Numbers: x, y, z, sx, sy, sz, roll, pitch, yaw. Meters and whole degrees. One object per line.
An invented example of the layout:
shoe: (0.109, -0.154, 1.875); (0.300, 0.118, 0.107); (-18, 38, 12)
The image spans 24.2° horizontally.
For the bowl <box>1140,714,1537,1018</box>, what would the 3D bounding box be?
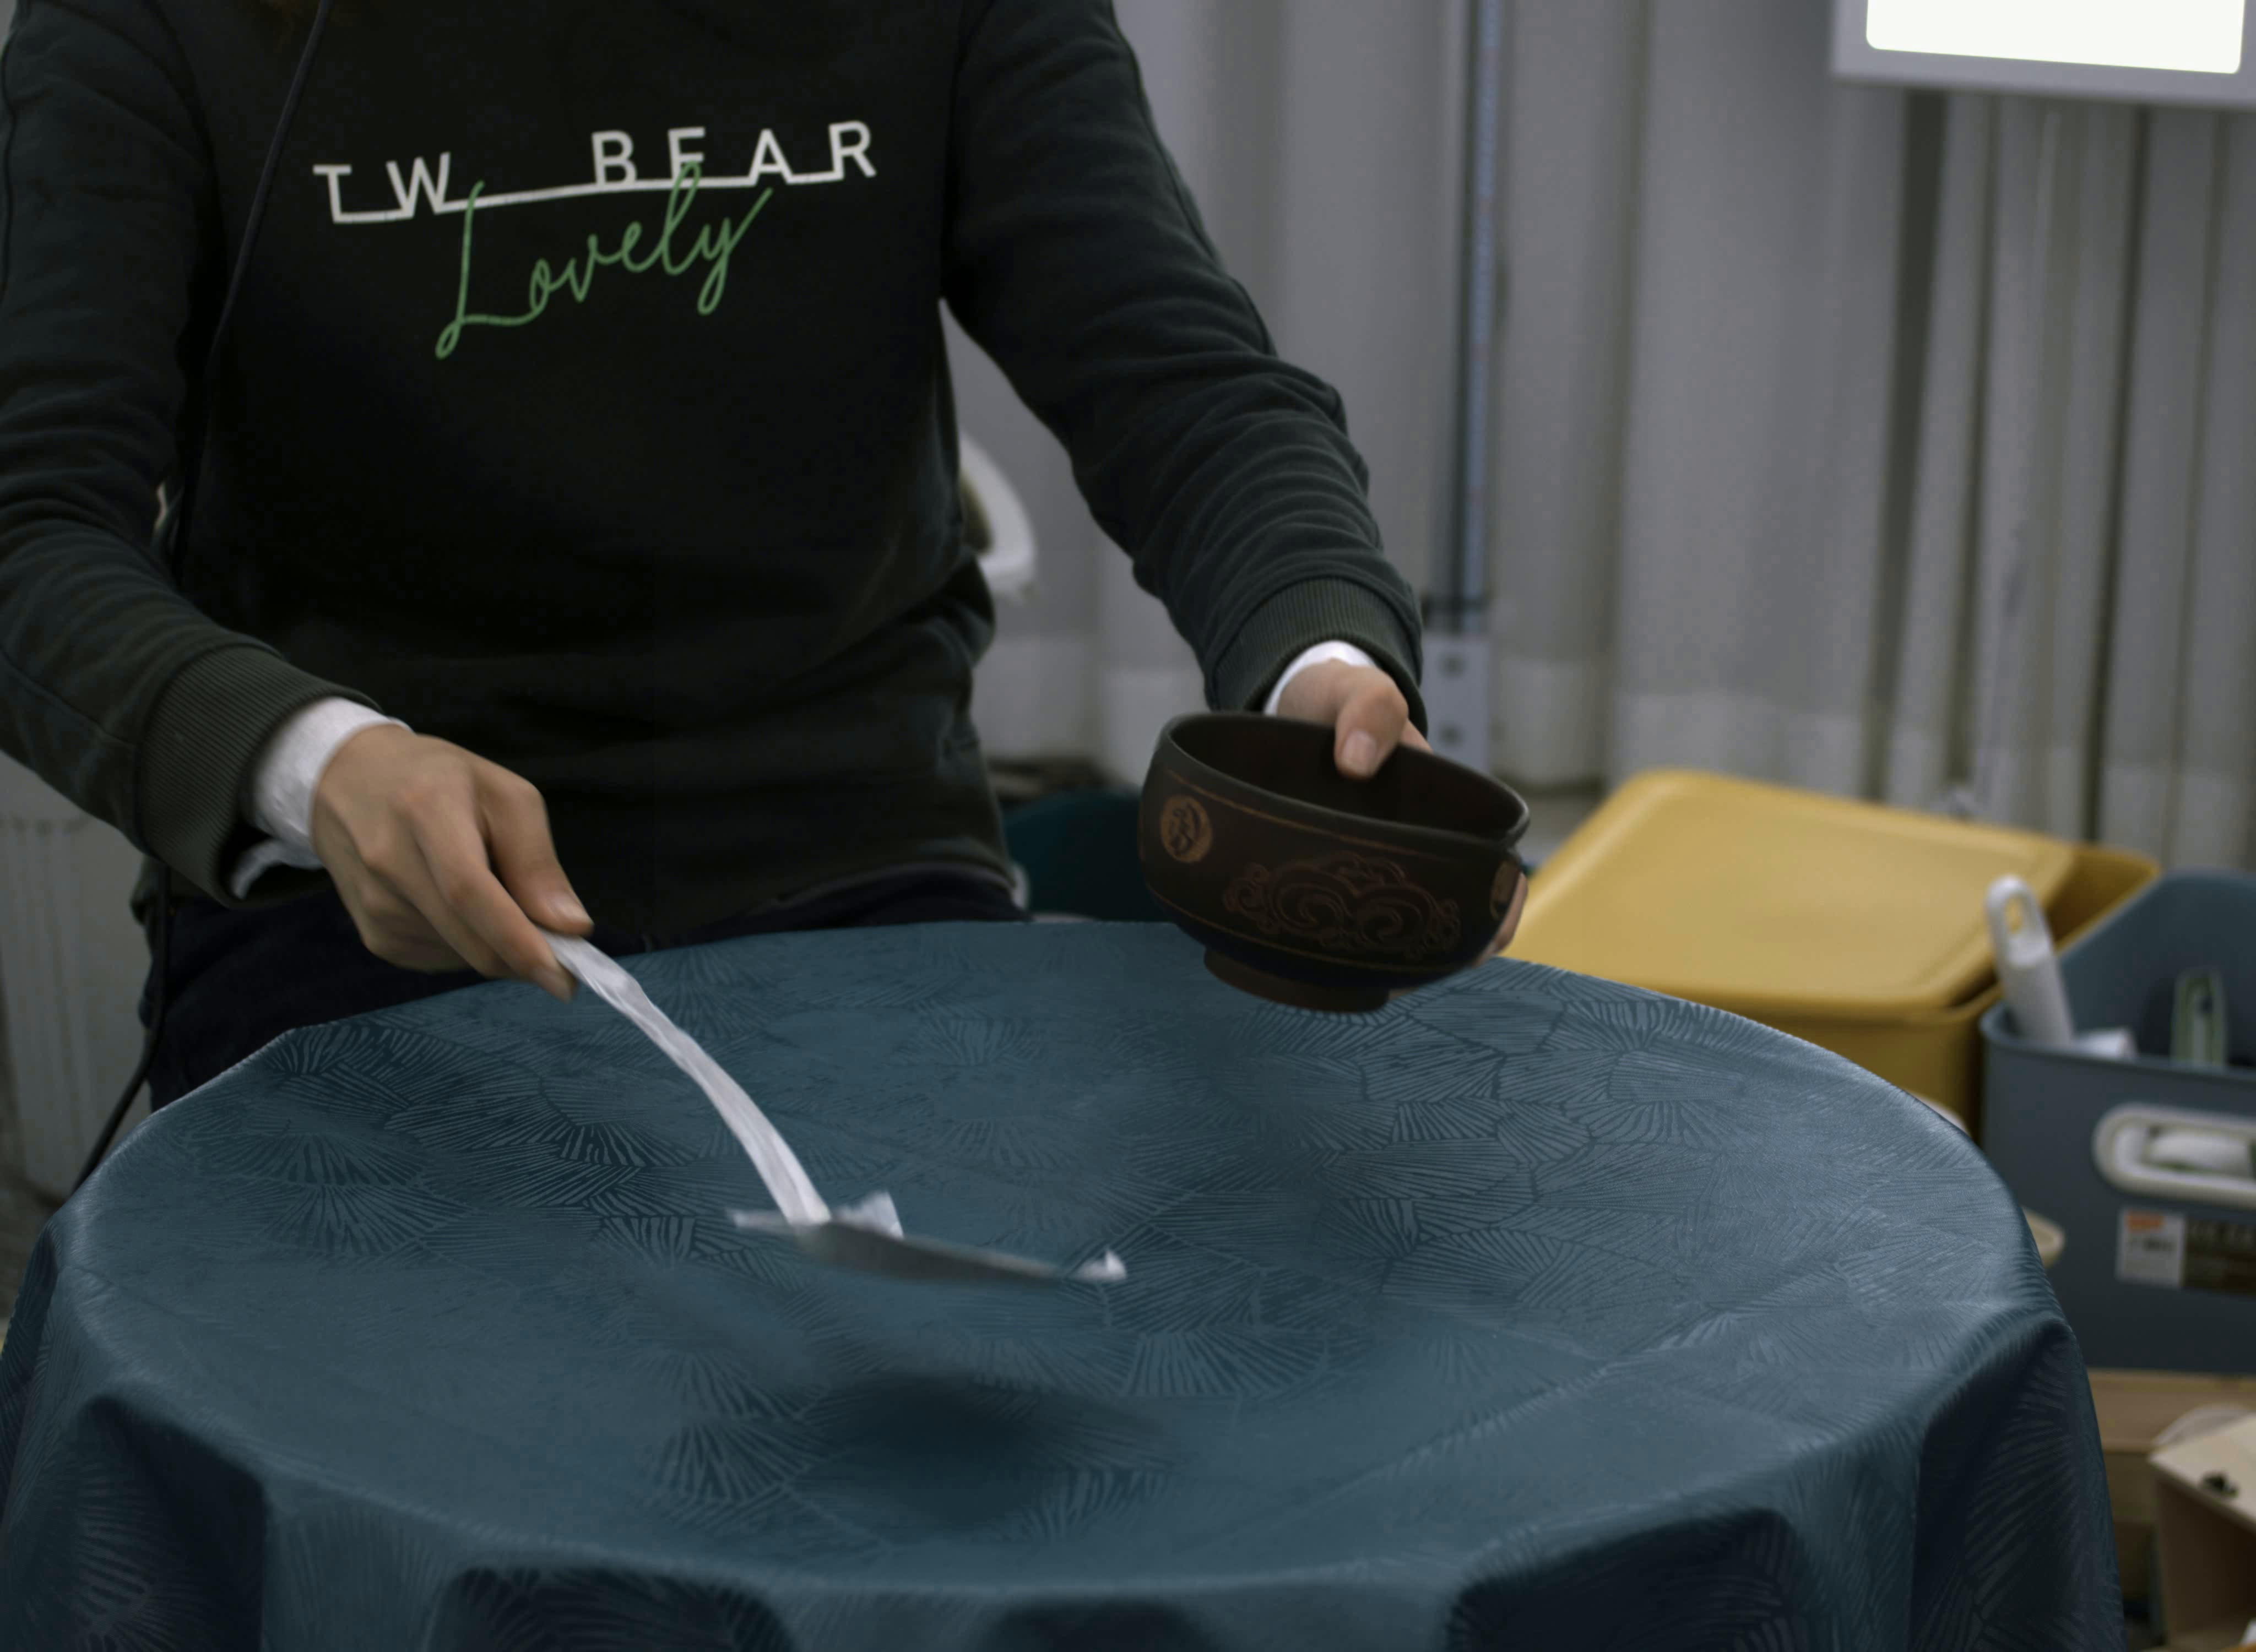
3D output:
bowl: (0.059, 0.016, 1.589); (0.118, 0.070, 0.117); (14, 13, -3)

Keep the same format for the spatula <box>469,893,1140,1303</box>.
spatula: (-0.119, 0.071, 1.536); (0.099, 0.045, 0.360); (12, 16, -34)
